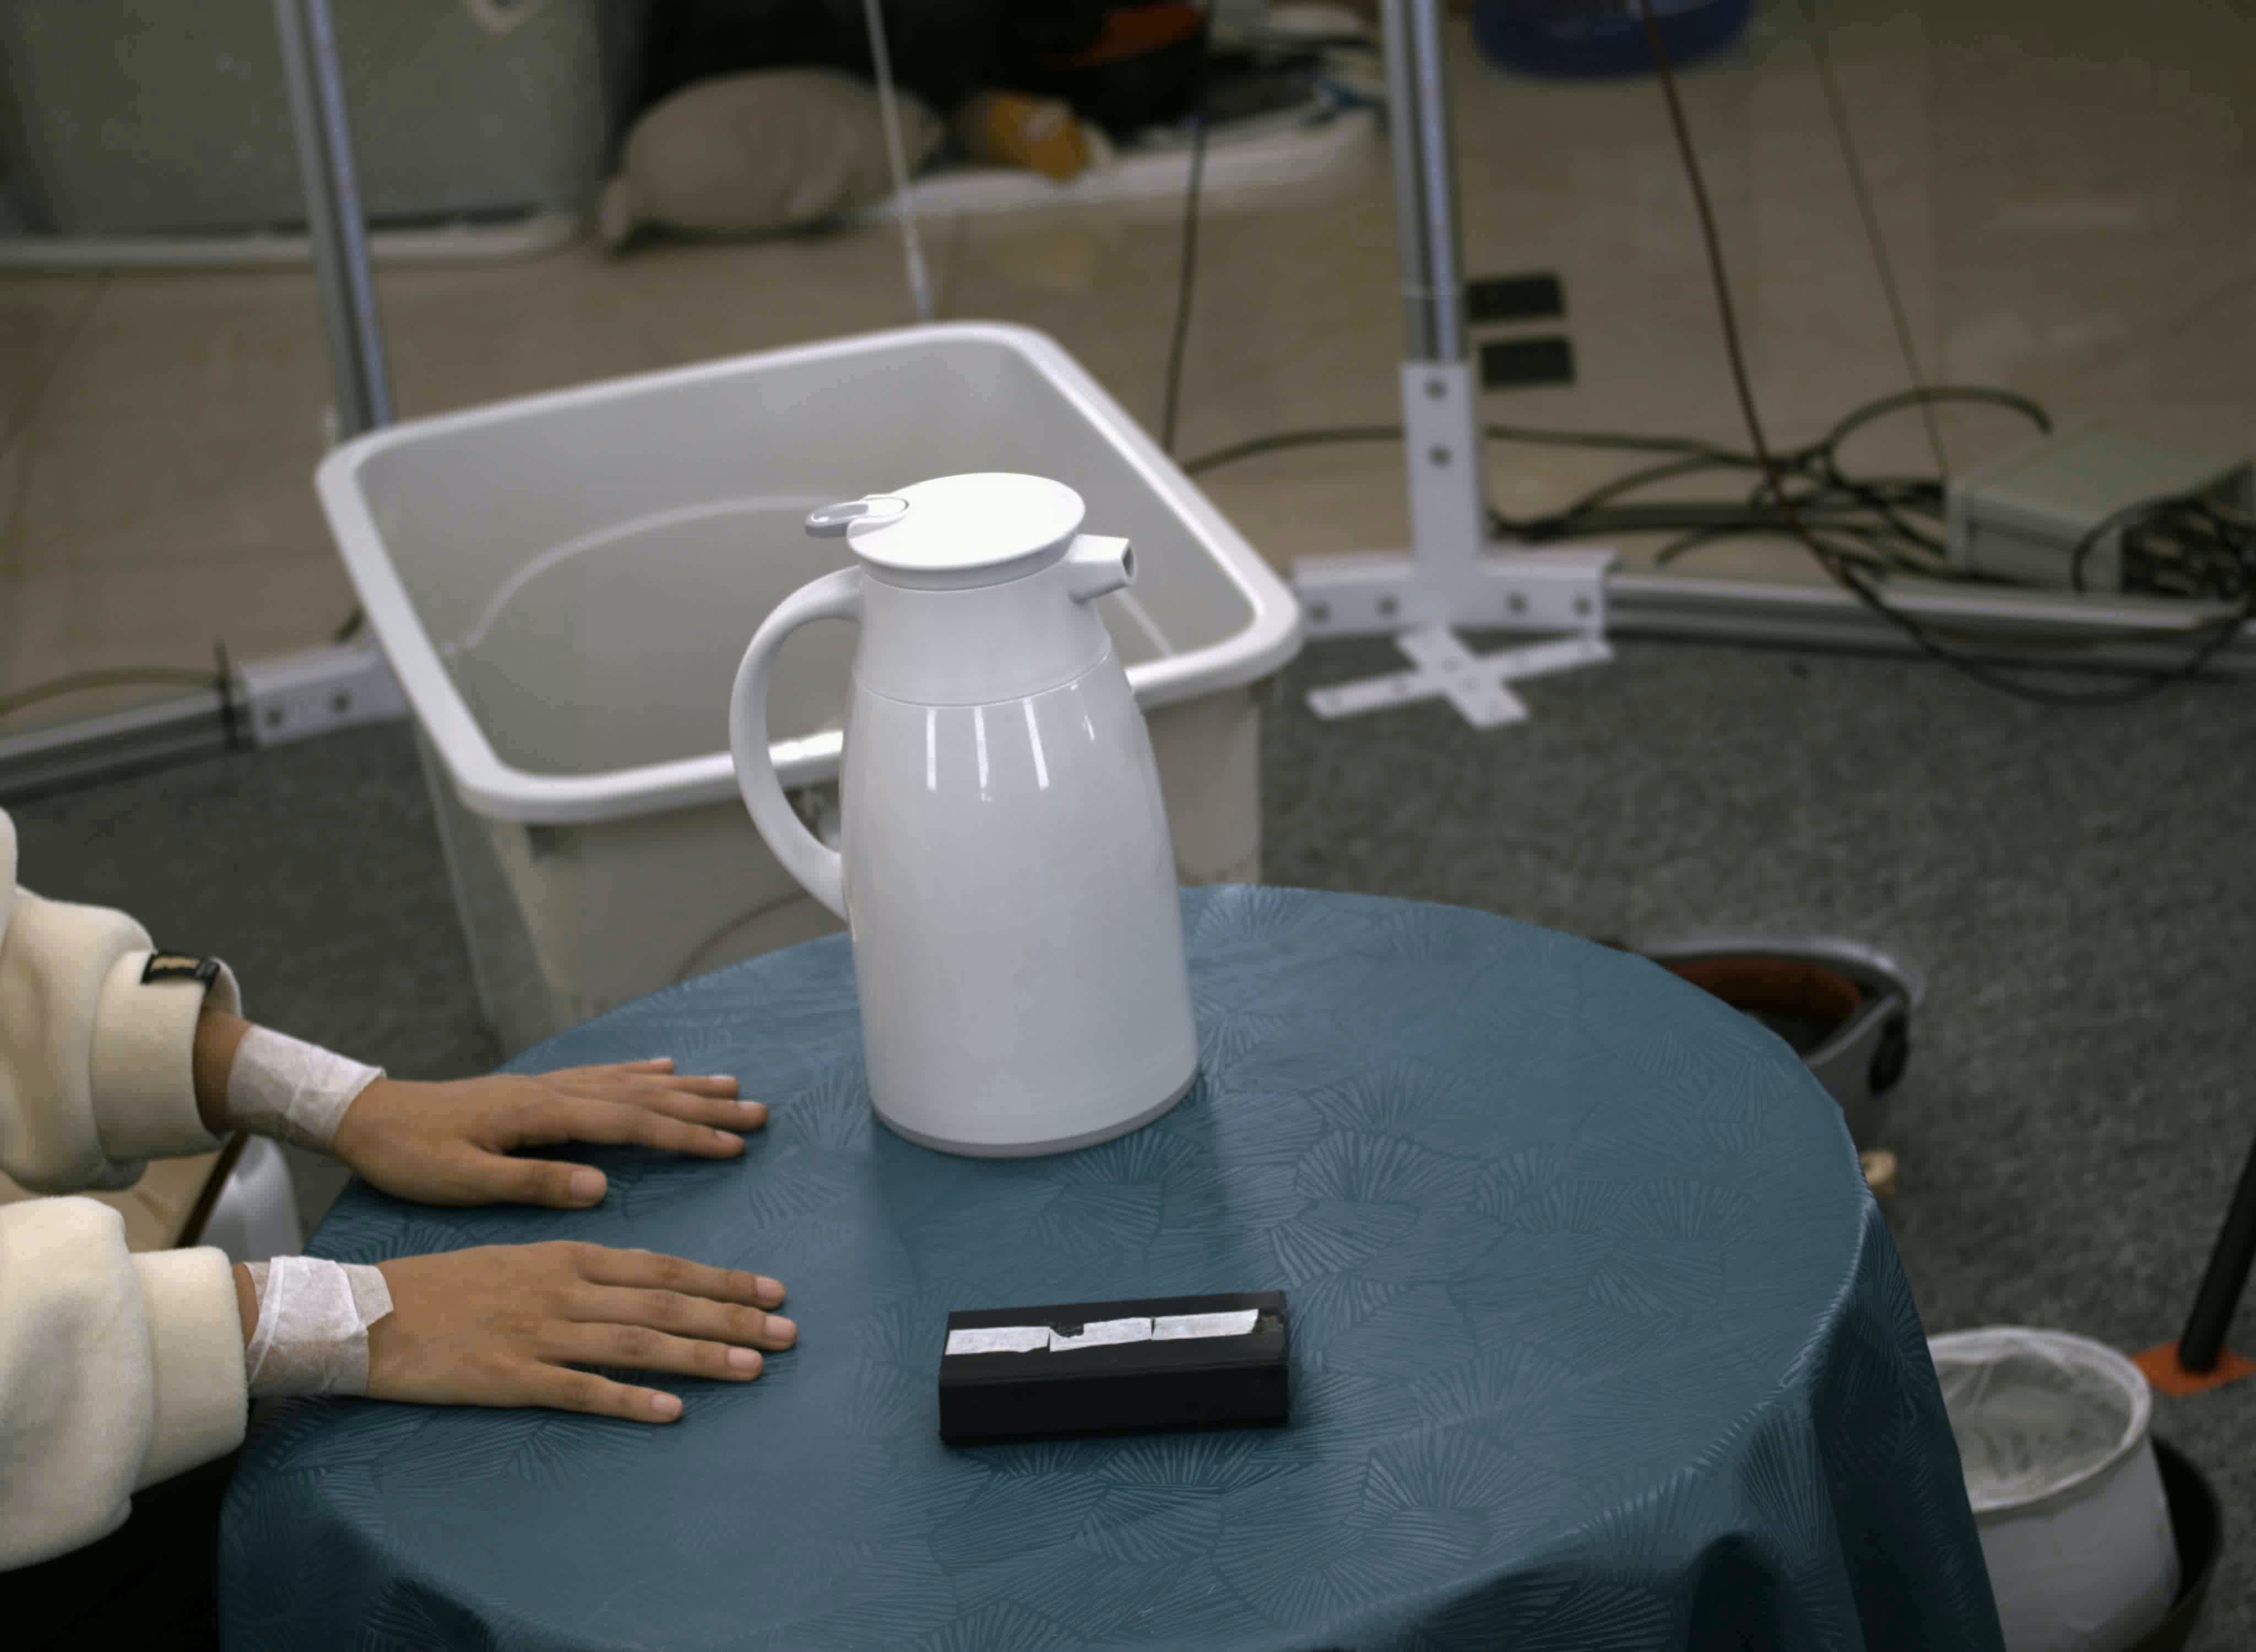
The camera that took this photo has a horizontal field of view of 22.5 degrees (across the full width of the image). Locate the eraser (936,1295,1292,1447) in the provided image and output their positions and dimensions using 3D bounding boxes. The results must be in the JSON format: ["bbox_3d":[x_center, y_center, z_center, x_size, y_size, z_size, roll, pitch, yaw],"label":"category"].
[{"bbox_3d":[-0.003,0.192,2.001,0.125,0.031,0.053,-5,23,4],"label":"eraser"}]

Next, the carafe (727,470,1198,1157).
[{"bbox_3d":[-0.069,-0.011,2.187,0.167,0.252,0.130,-2,26,12],"label":"carafe"}]
